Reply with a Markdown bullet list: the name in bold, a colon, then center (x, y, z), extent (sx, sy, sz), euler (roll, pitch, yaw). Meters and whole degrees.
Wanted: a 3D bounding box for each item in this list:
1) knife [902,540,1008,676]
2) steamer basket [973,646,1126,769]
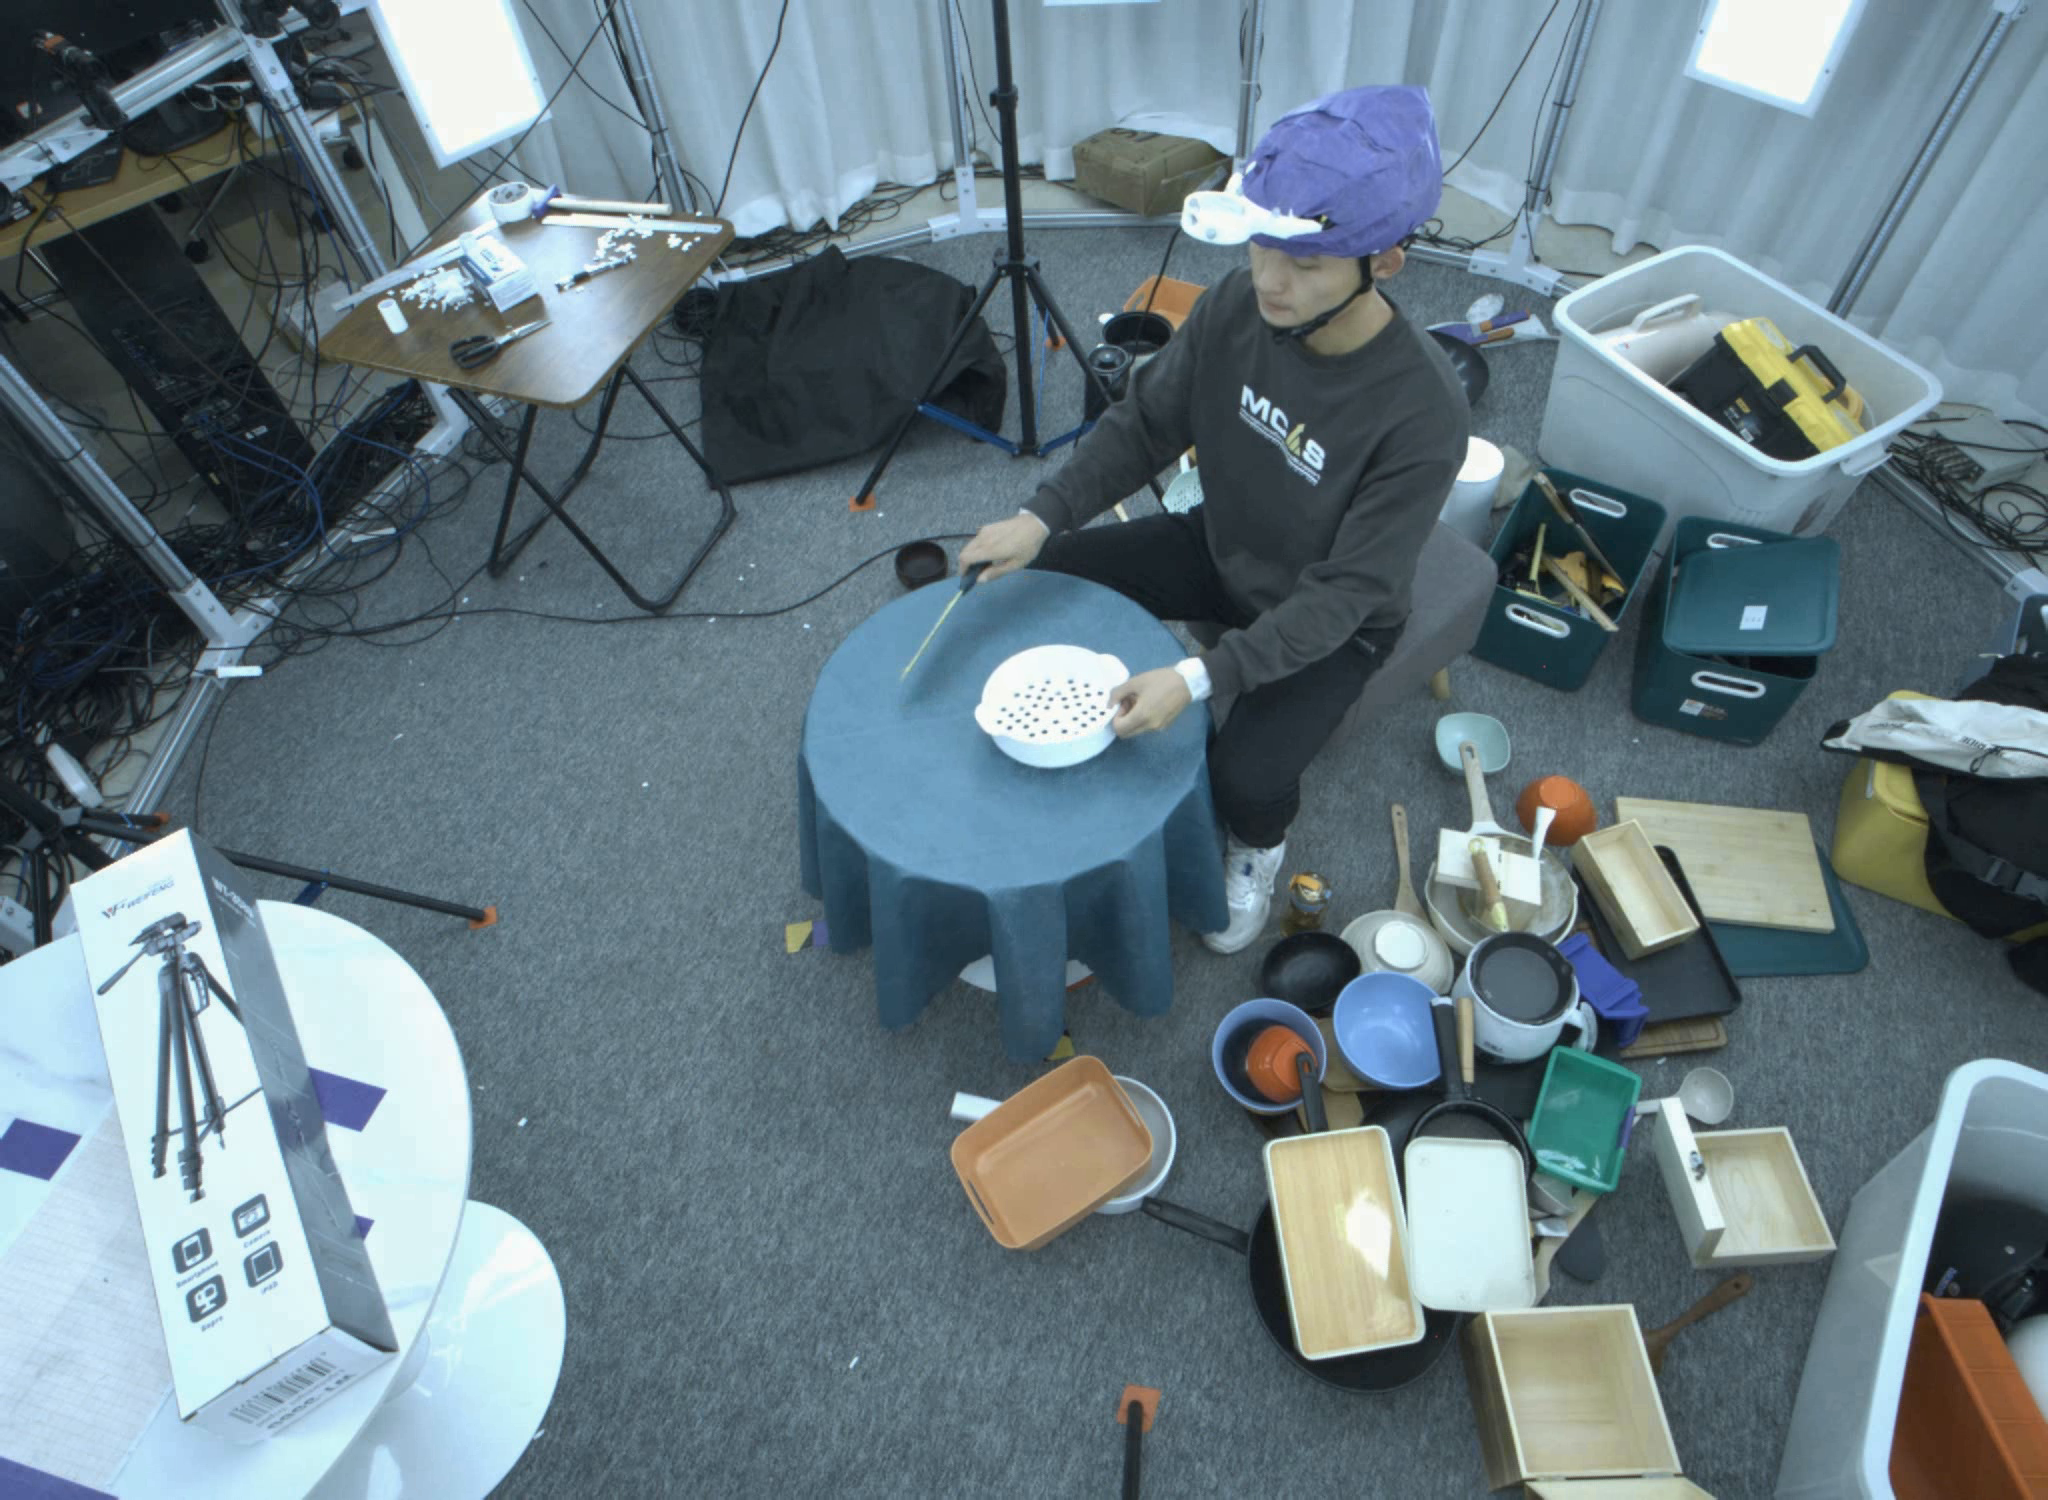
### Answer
- **knife**: center (-0.108, -0.218, 1.882), extent (0.027, 0.080, 0.290), euler (38, 63, -7)
- **steamer basket**: center (0.039, -0.061, 1.787), extent (0.232, 0.070, 0.198), euler (-22, 50, -15)
